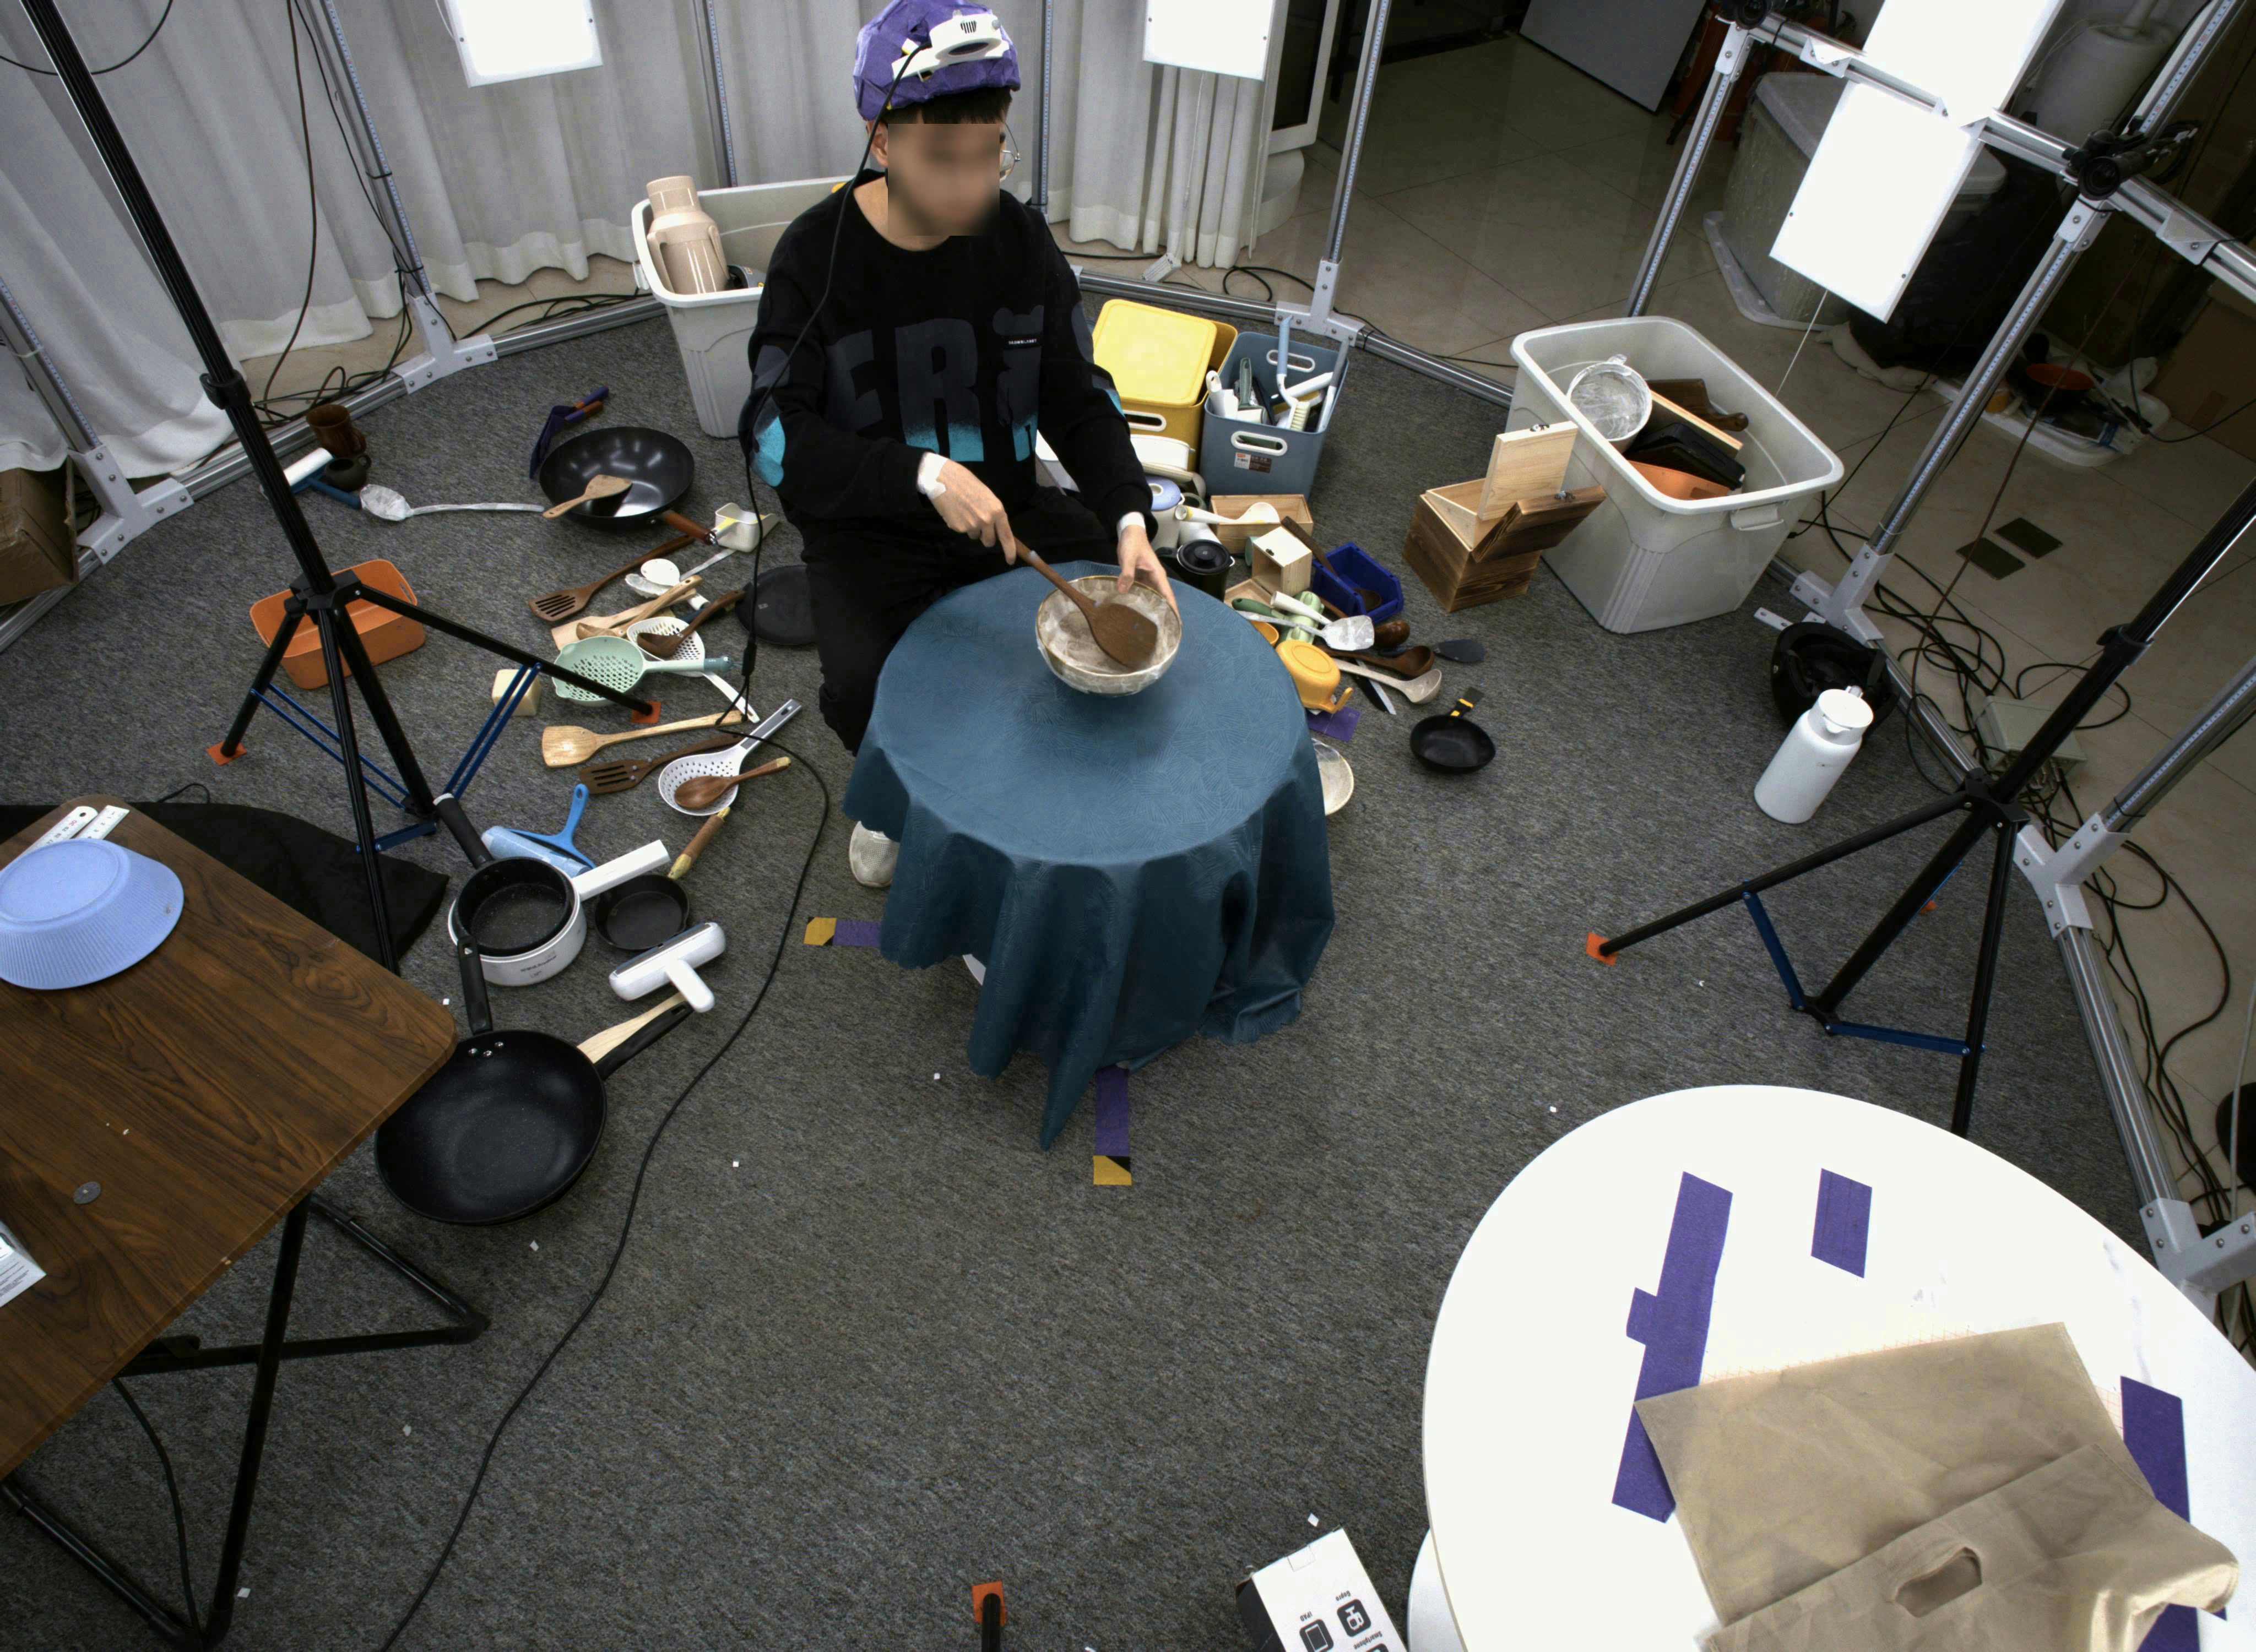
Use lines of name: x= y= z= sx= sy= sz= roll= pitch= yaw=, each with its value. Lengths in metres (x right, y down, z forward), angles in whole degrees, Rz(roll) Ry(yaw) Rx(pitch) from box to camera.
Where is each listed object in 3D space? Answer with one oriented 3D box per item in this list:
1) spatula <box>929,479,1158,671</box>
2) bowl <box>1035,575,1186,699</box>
spatula: x=-0.117 y=-0.354 z=1.788 sx=0.383 sy=0.015 sz=0.098 roll=38 pitch=55 yaw=-10
bowl: x=-0.028 y=-0.250 z=1.805 sx=0.214 sy=0.092 sz=0.220 roll=2 pitch=49 yaw=-3
